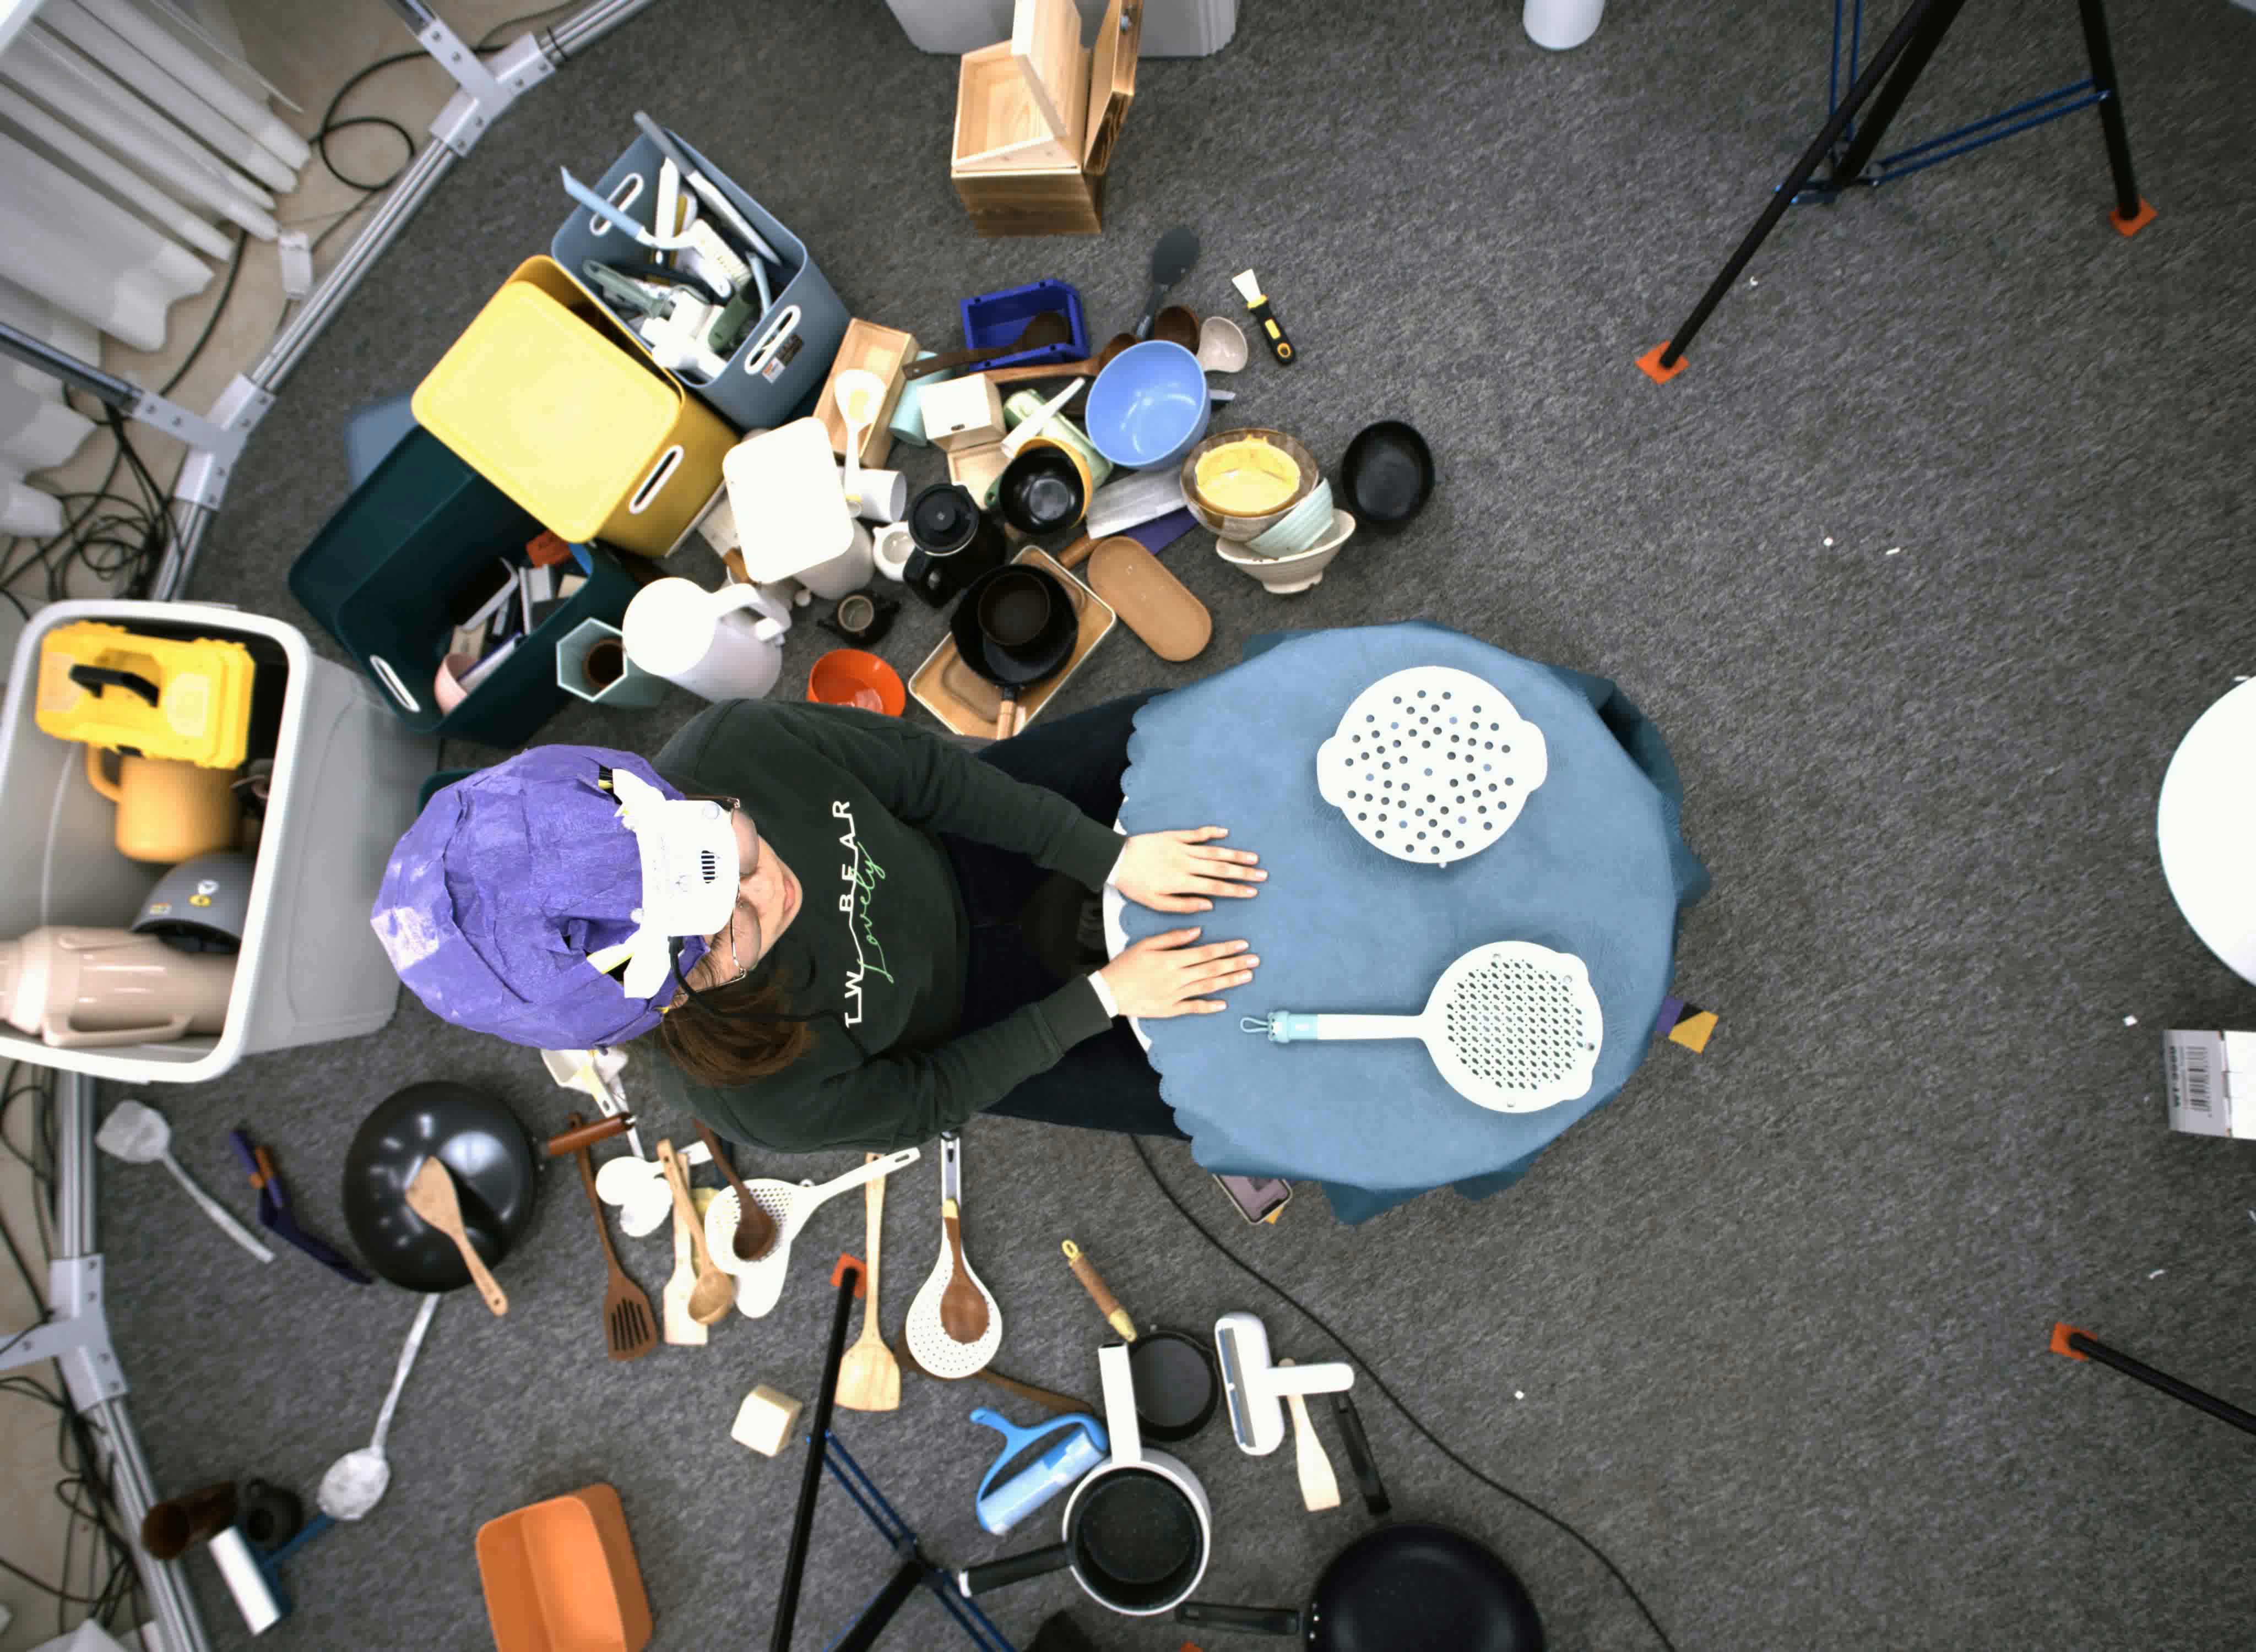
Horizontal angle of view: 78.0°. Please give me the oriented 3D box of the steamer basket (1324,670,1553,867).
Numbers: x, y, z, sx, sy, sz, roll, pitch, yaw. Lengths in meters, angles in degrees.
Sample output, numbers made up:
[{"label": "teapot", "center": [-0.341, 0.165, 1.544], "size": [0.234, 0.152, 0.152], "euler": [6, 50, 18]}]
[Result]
[{"label": "steamer basket", "center": [0.321, -0.059, 1.432], "size": [0.231, 0.069, 0.200], "euler": [-6, 84, 10]}]

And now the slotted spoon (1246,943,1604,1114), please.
[{"label": "slotted spoon", "center": [0.297, 0.205, 1.418], "size": [0.360, 0.075, 0.168], "euler": [-2, 85, 10]}]
